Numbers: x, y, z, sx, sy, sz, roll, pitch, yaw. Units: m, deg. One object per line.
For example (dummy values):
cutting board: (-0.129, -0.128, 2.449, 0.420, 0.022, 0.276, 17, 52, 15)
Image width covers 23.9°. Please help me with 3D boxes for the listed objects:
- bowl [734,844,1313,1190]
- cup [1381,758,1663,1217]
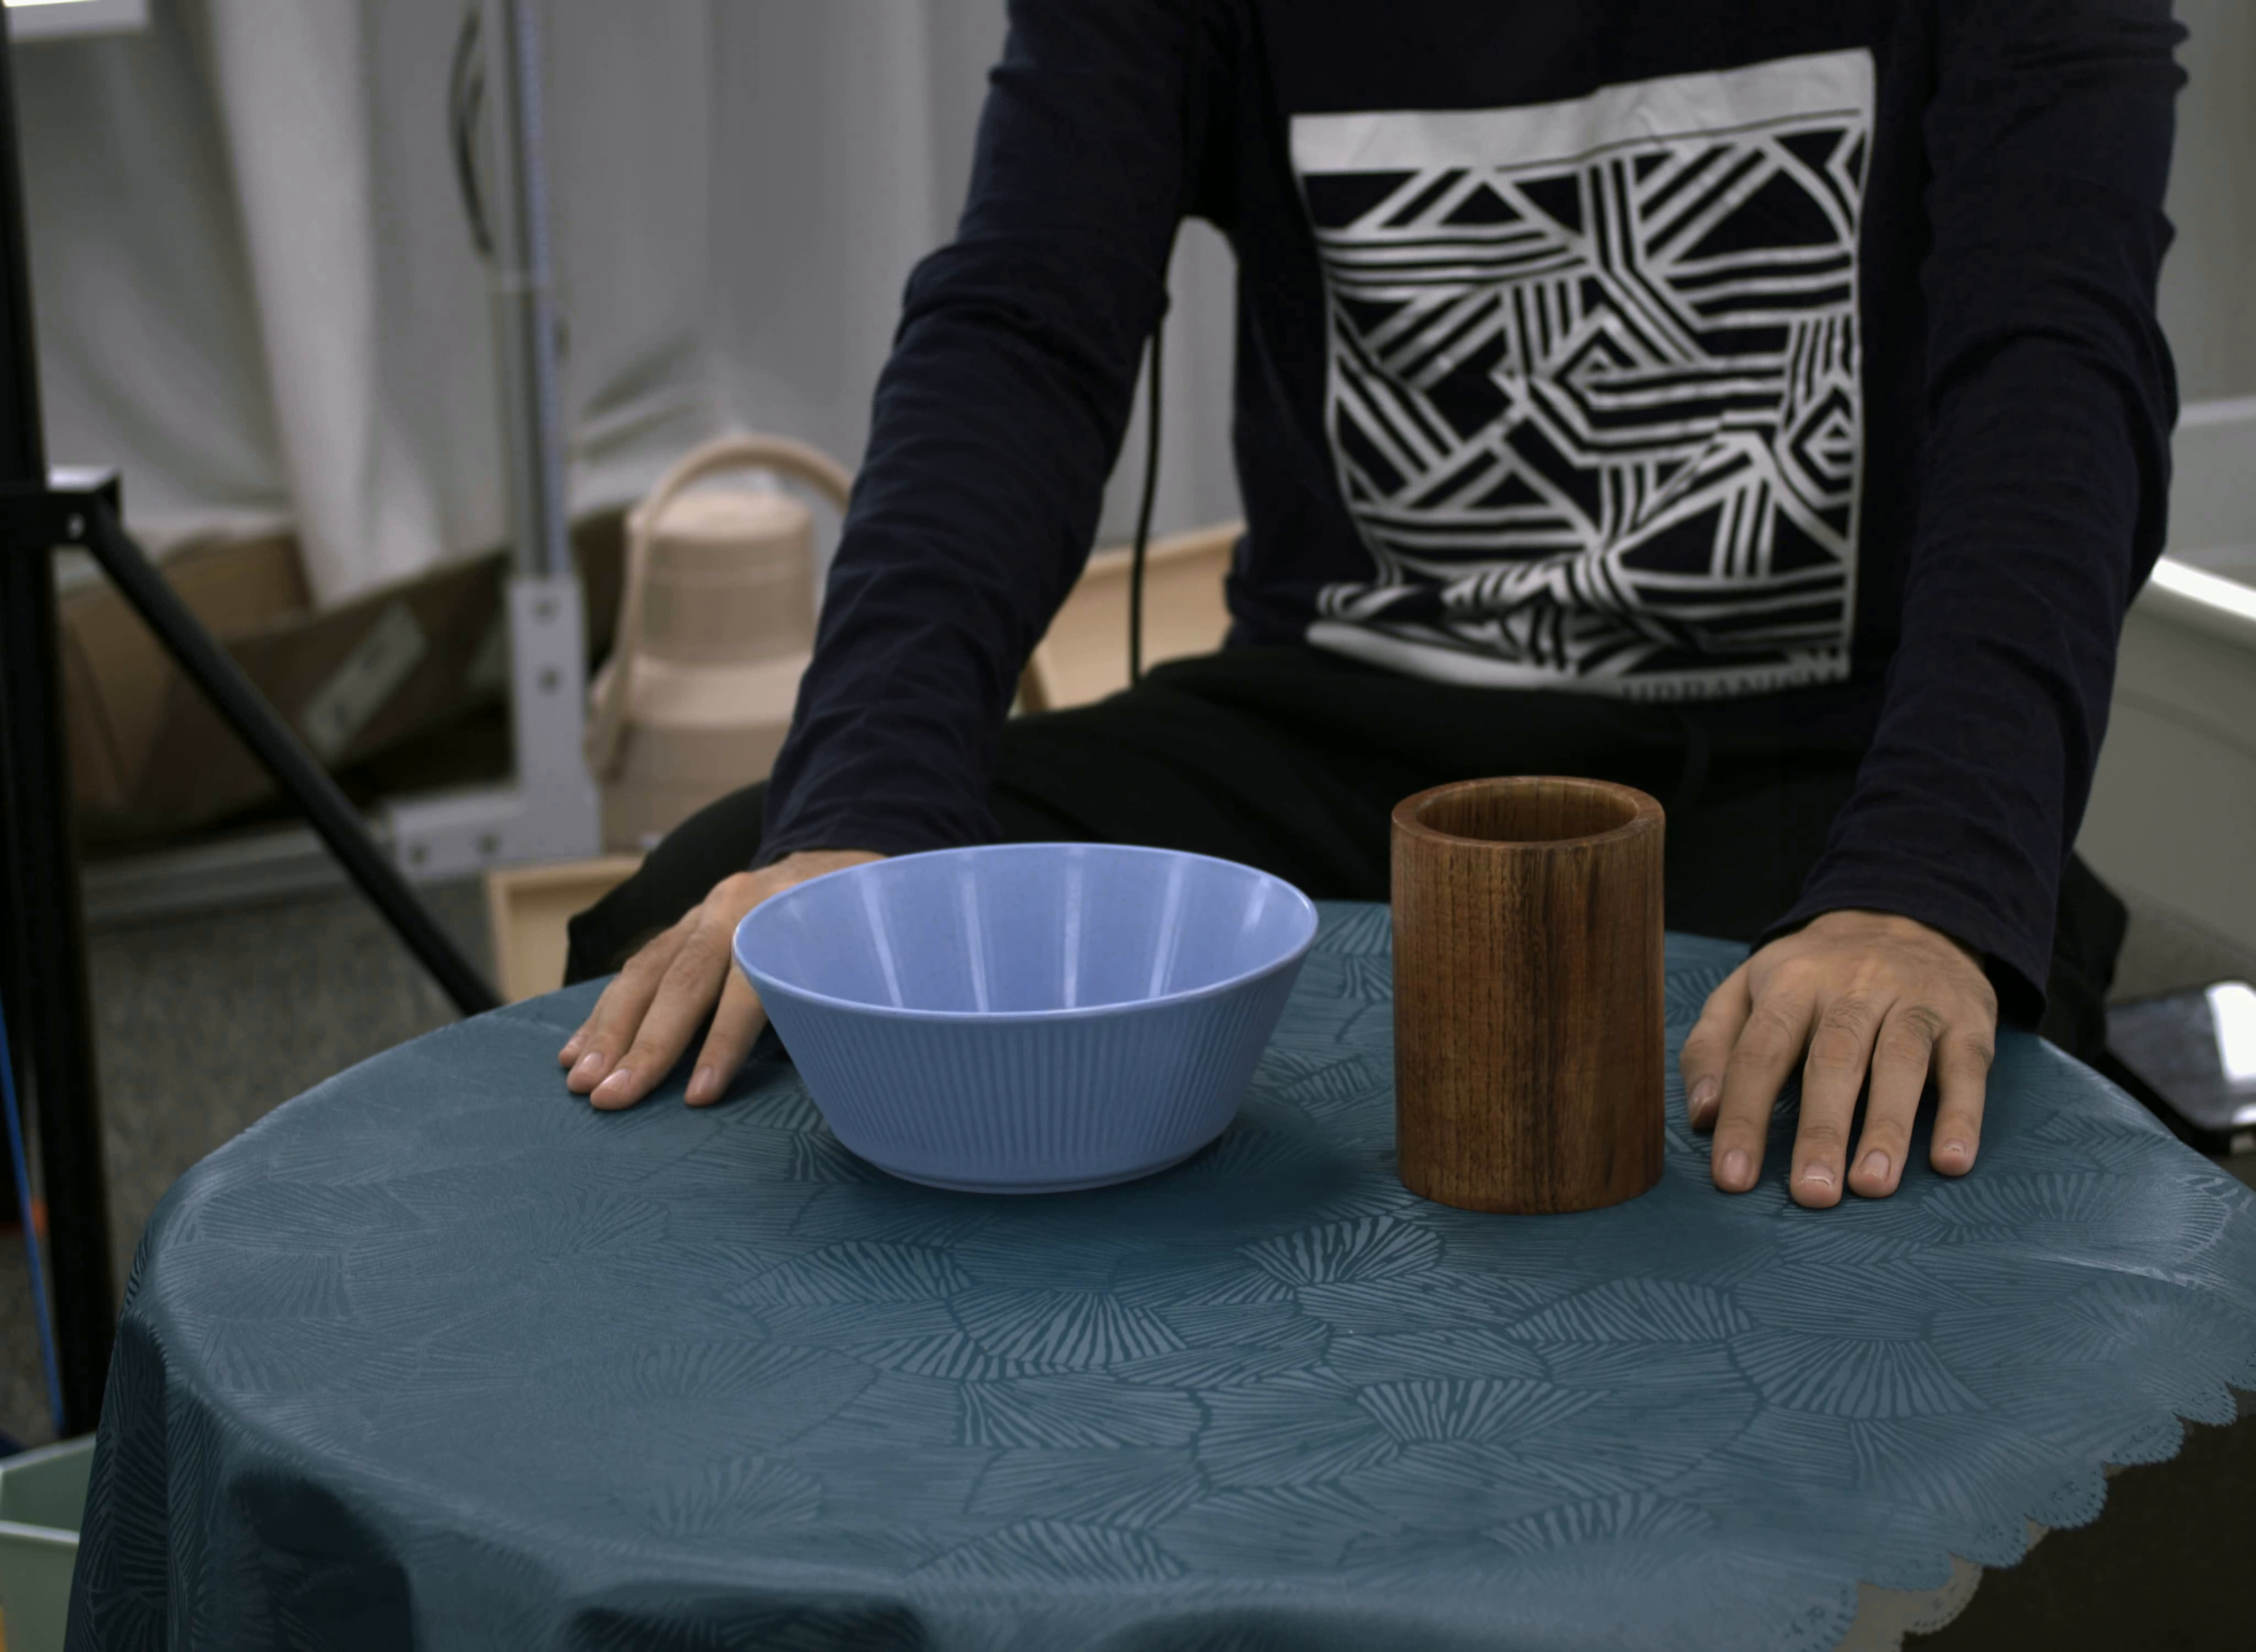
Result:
bowl: (-0.031, 0.060, 1.606, 0.175, 0.070, 0.177, -2, 15, -1)
cup: (0.114, 0.046, 1.548, 0.087, 0.118, 0.088, -1, 13, -1)
